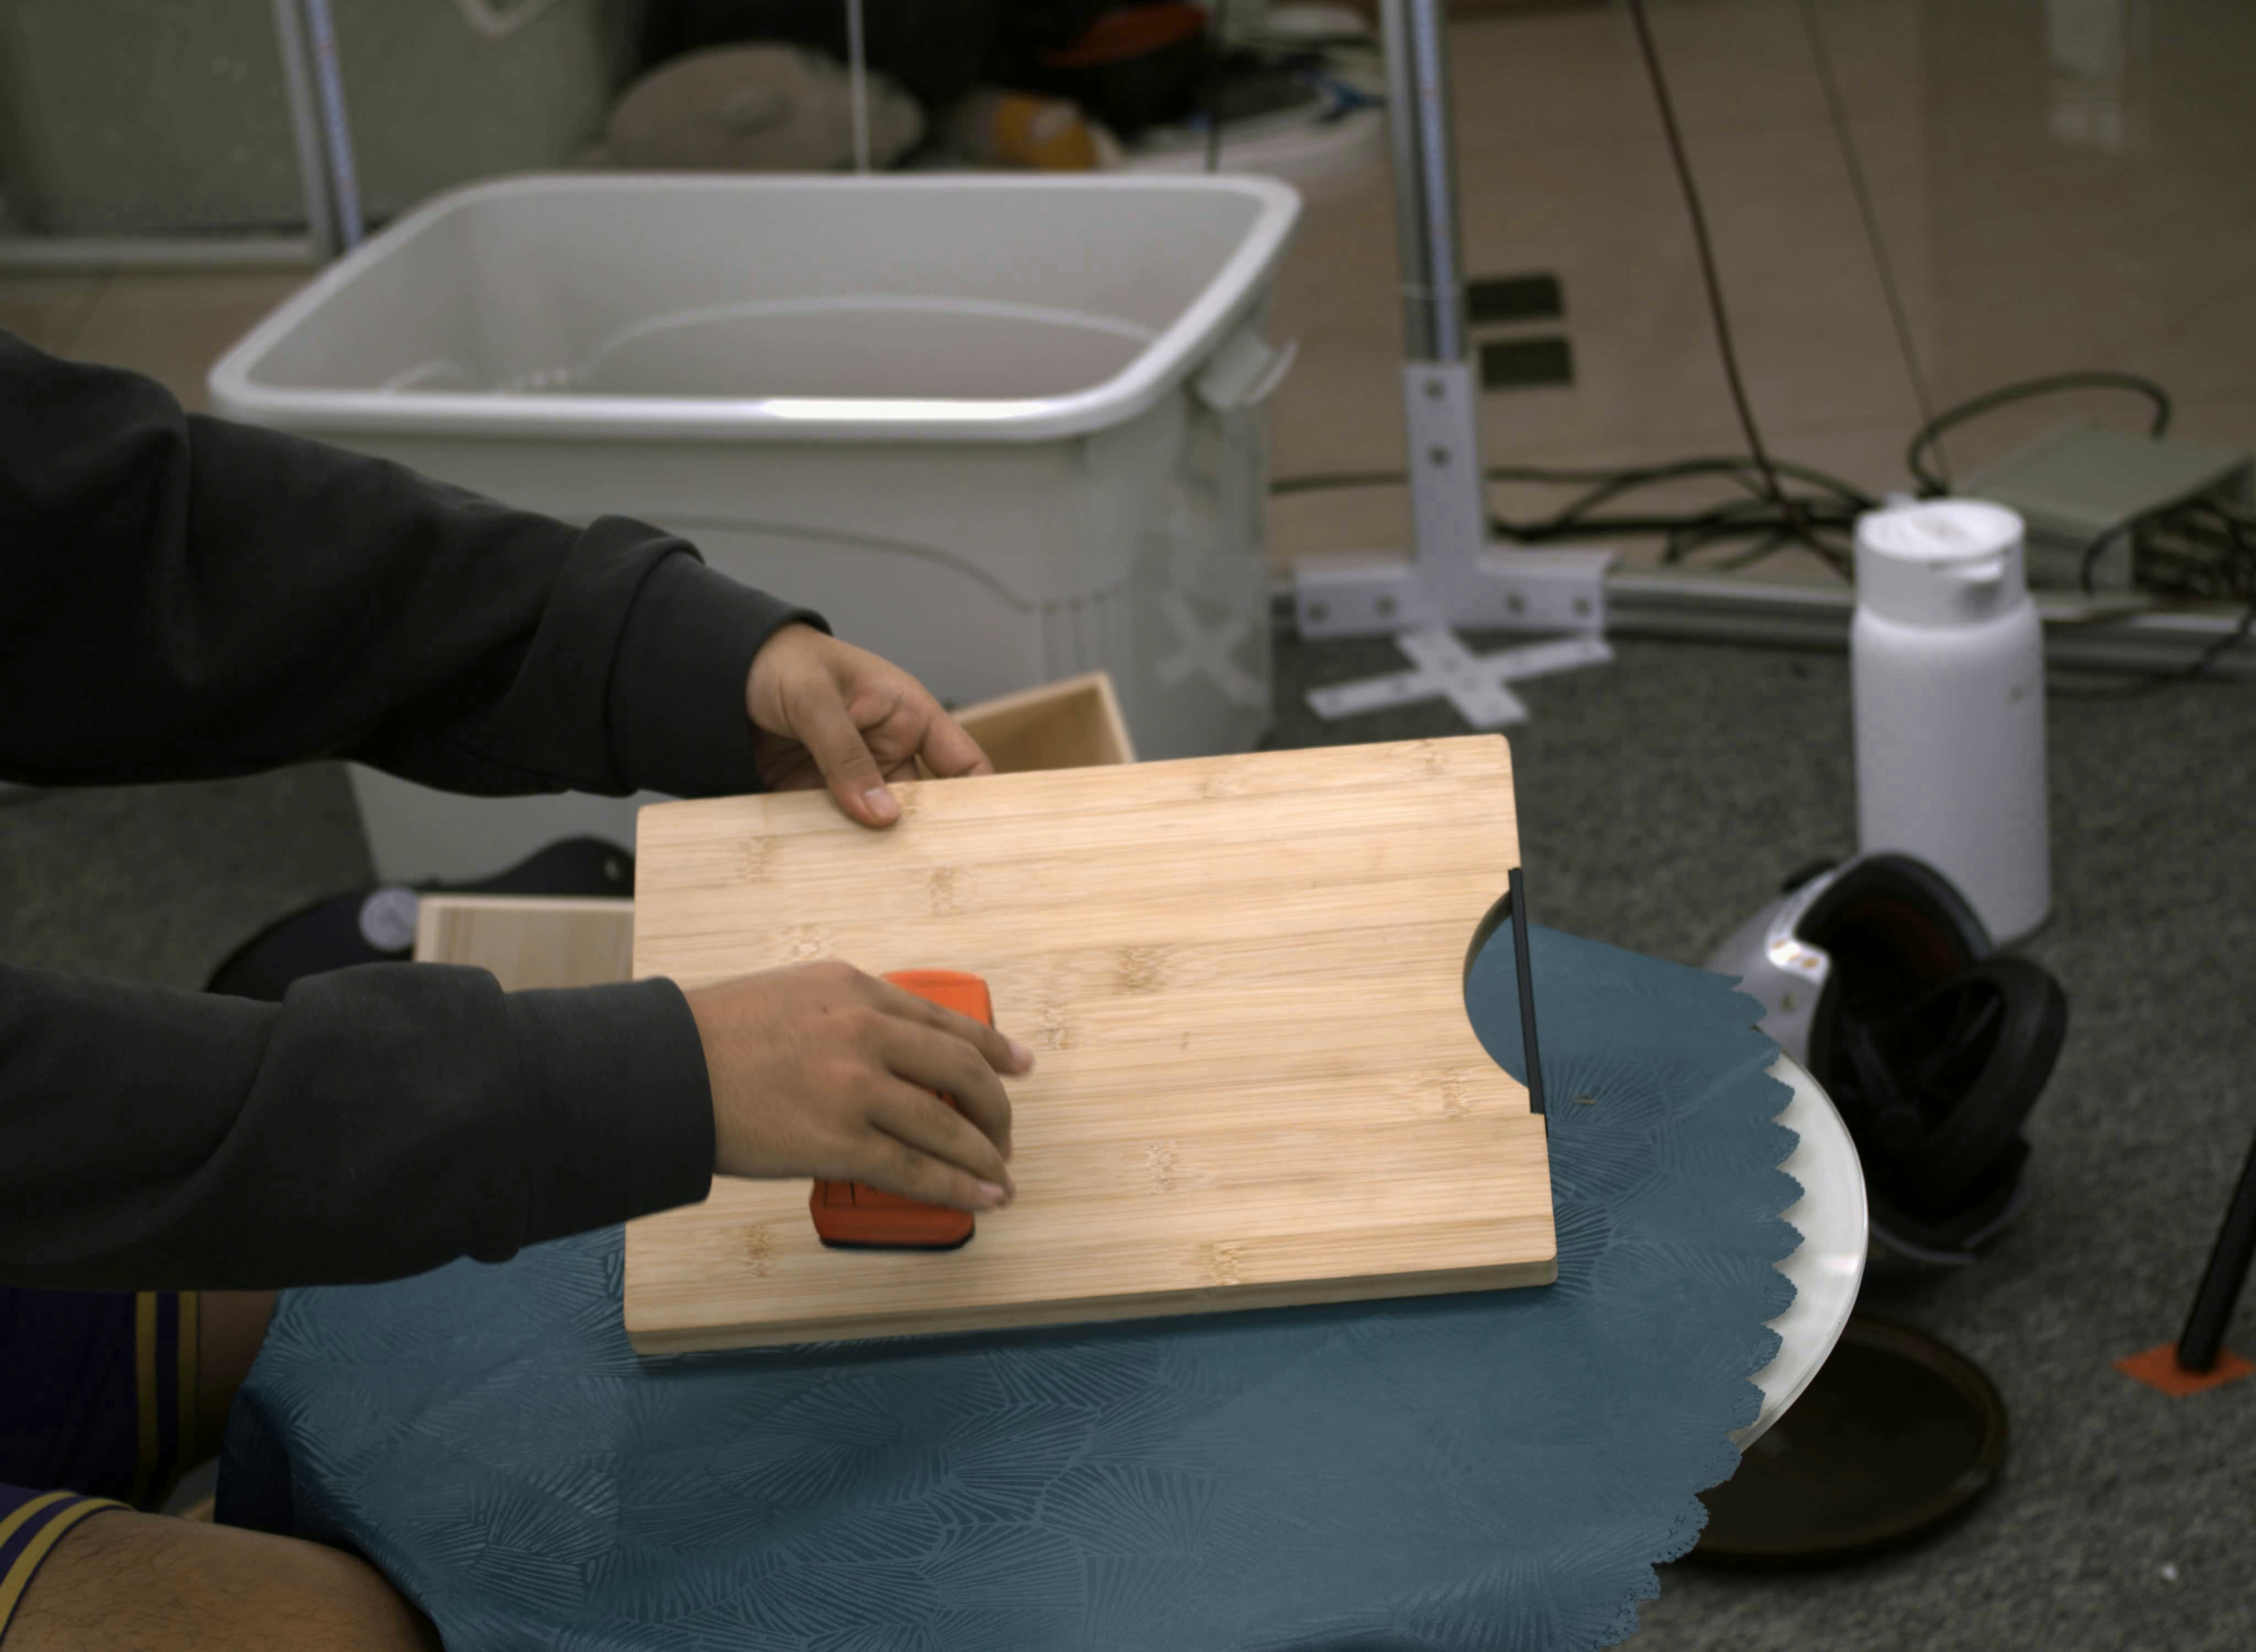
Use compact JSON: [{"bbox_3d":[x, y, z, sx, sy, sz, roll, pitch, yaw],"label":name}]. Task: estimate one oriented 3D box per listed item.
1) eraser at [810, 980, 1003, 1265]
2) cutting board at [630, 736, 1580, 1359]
[{"bbox_3d":[-0.078,0.105,2.012,0.059,0.023,0.106,2,55,7],"label":"eraser"},{"bbox_3d":[-0.012,0.080,2.122,0.348,0.024,0.246,-5,55,3],"label":"cutting board"}]
